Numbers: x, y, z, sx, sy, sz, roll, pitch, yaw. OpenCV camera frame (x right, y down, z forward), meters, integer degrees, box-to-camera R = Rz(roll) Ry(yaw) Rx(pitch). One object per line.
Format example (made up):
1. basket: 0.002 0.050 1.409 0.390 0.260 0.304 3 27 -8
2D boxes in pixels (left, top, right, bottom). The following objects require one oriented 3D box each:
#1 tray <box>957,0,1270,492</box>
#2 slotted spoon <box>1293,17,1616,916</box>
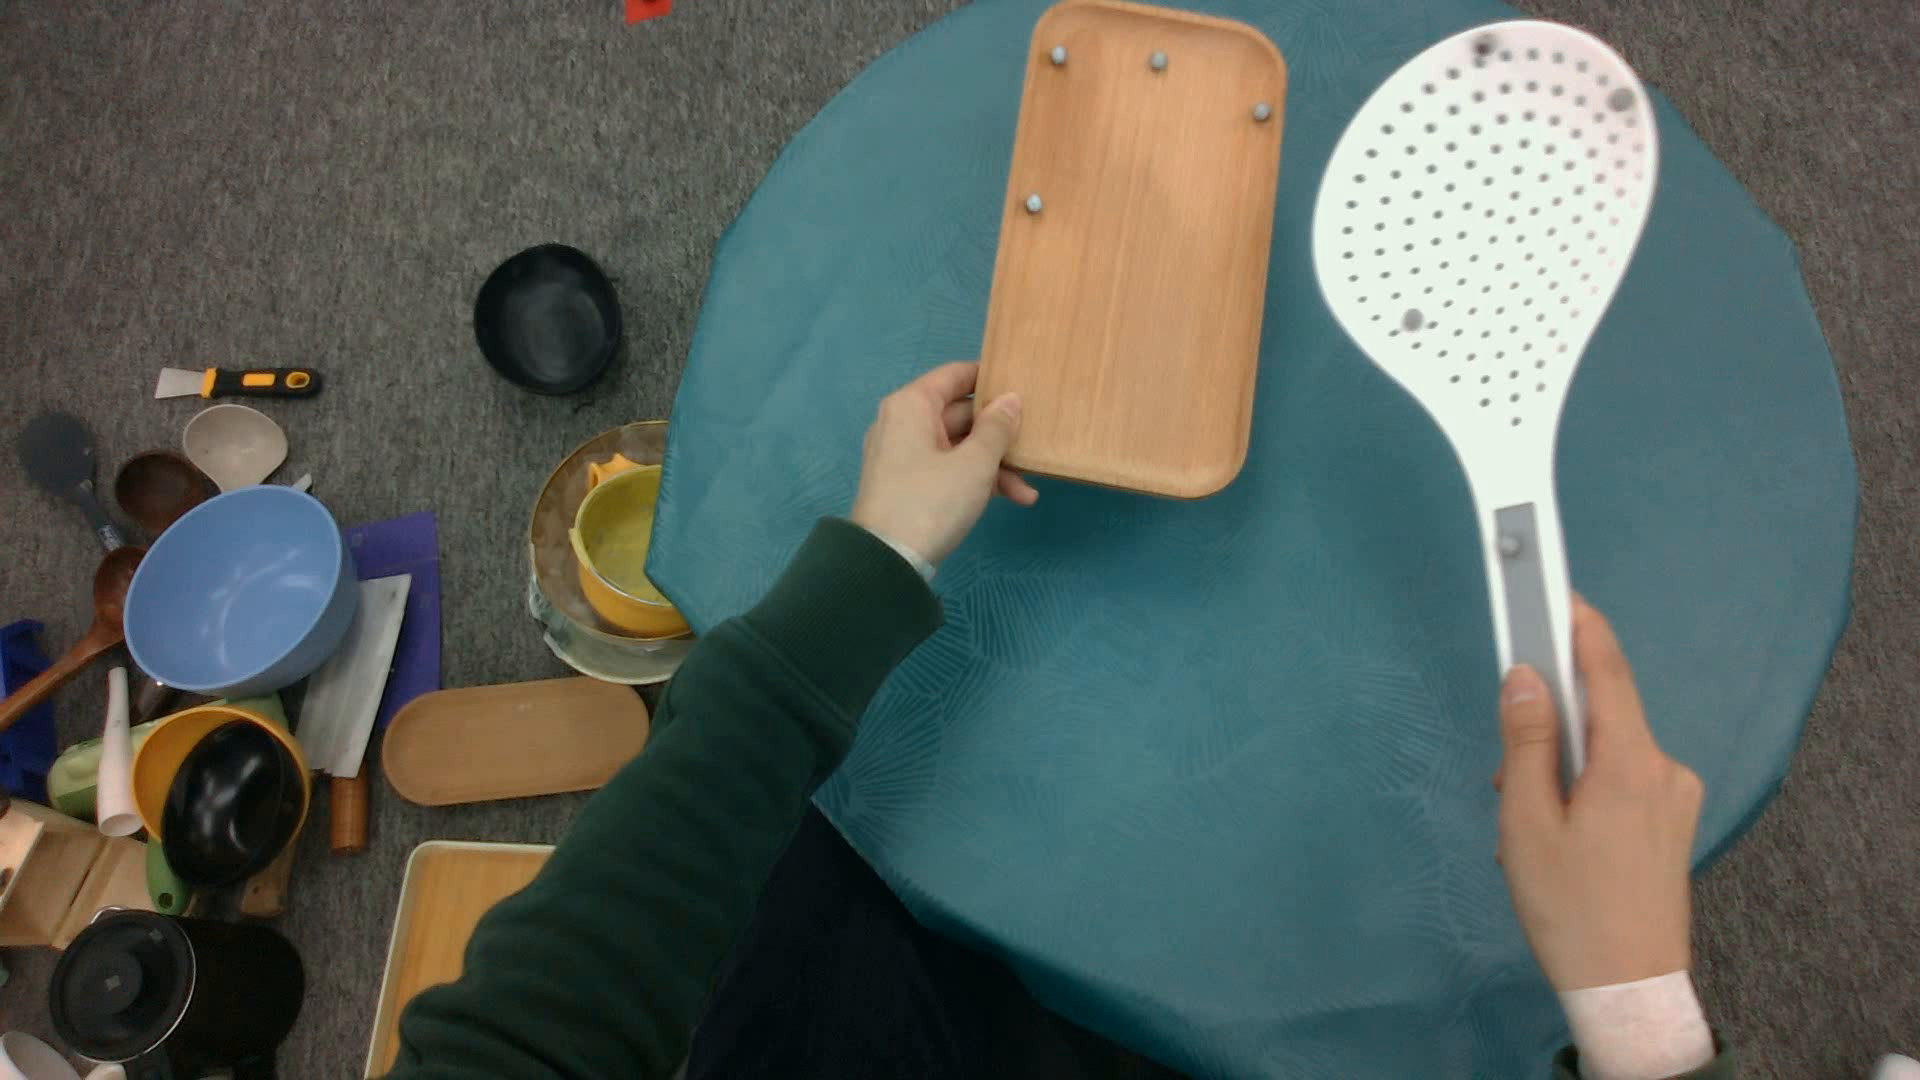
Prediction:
1. tray: 0.076 -0.146 0.656 0.130 0.023 0.251 9 74 0
2. slotted spoon: 0.208 -0.034 0.536 0.135 0.046 0.350 -16 71 44
